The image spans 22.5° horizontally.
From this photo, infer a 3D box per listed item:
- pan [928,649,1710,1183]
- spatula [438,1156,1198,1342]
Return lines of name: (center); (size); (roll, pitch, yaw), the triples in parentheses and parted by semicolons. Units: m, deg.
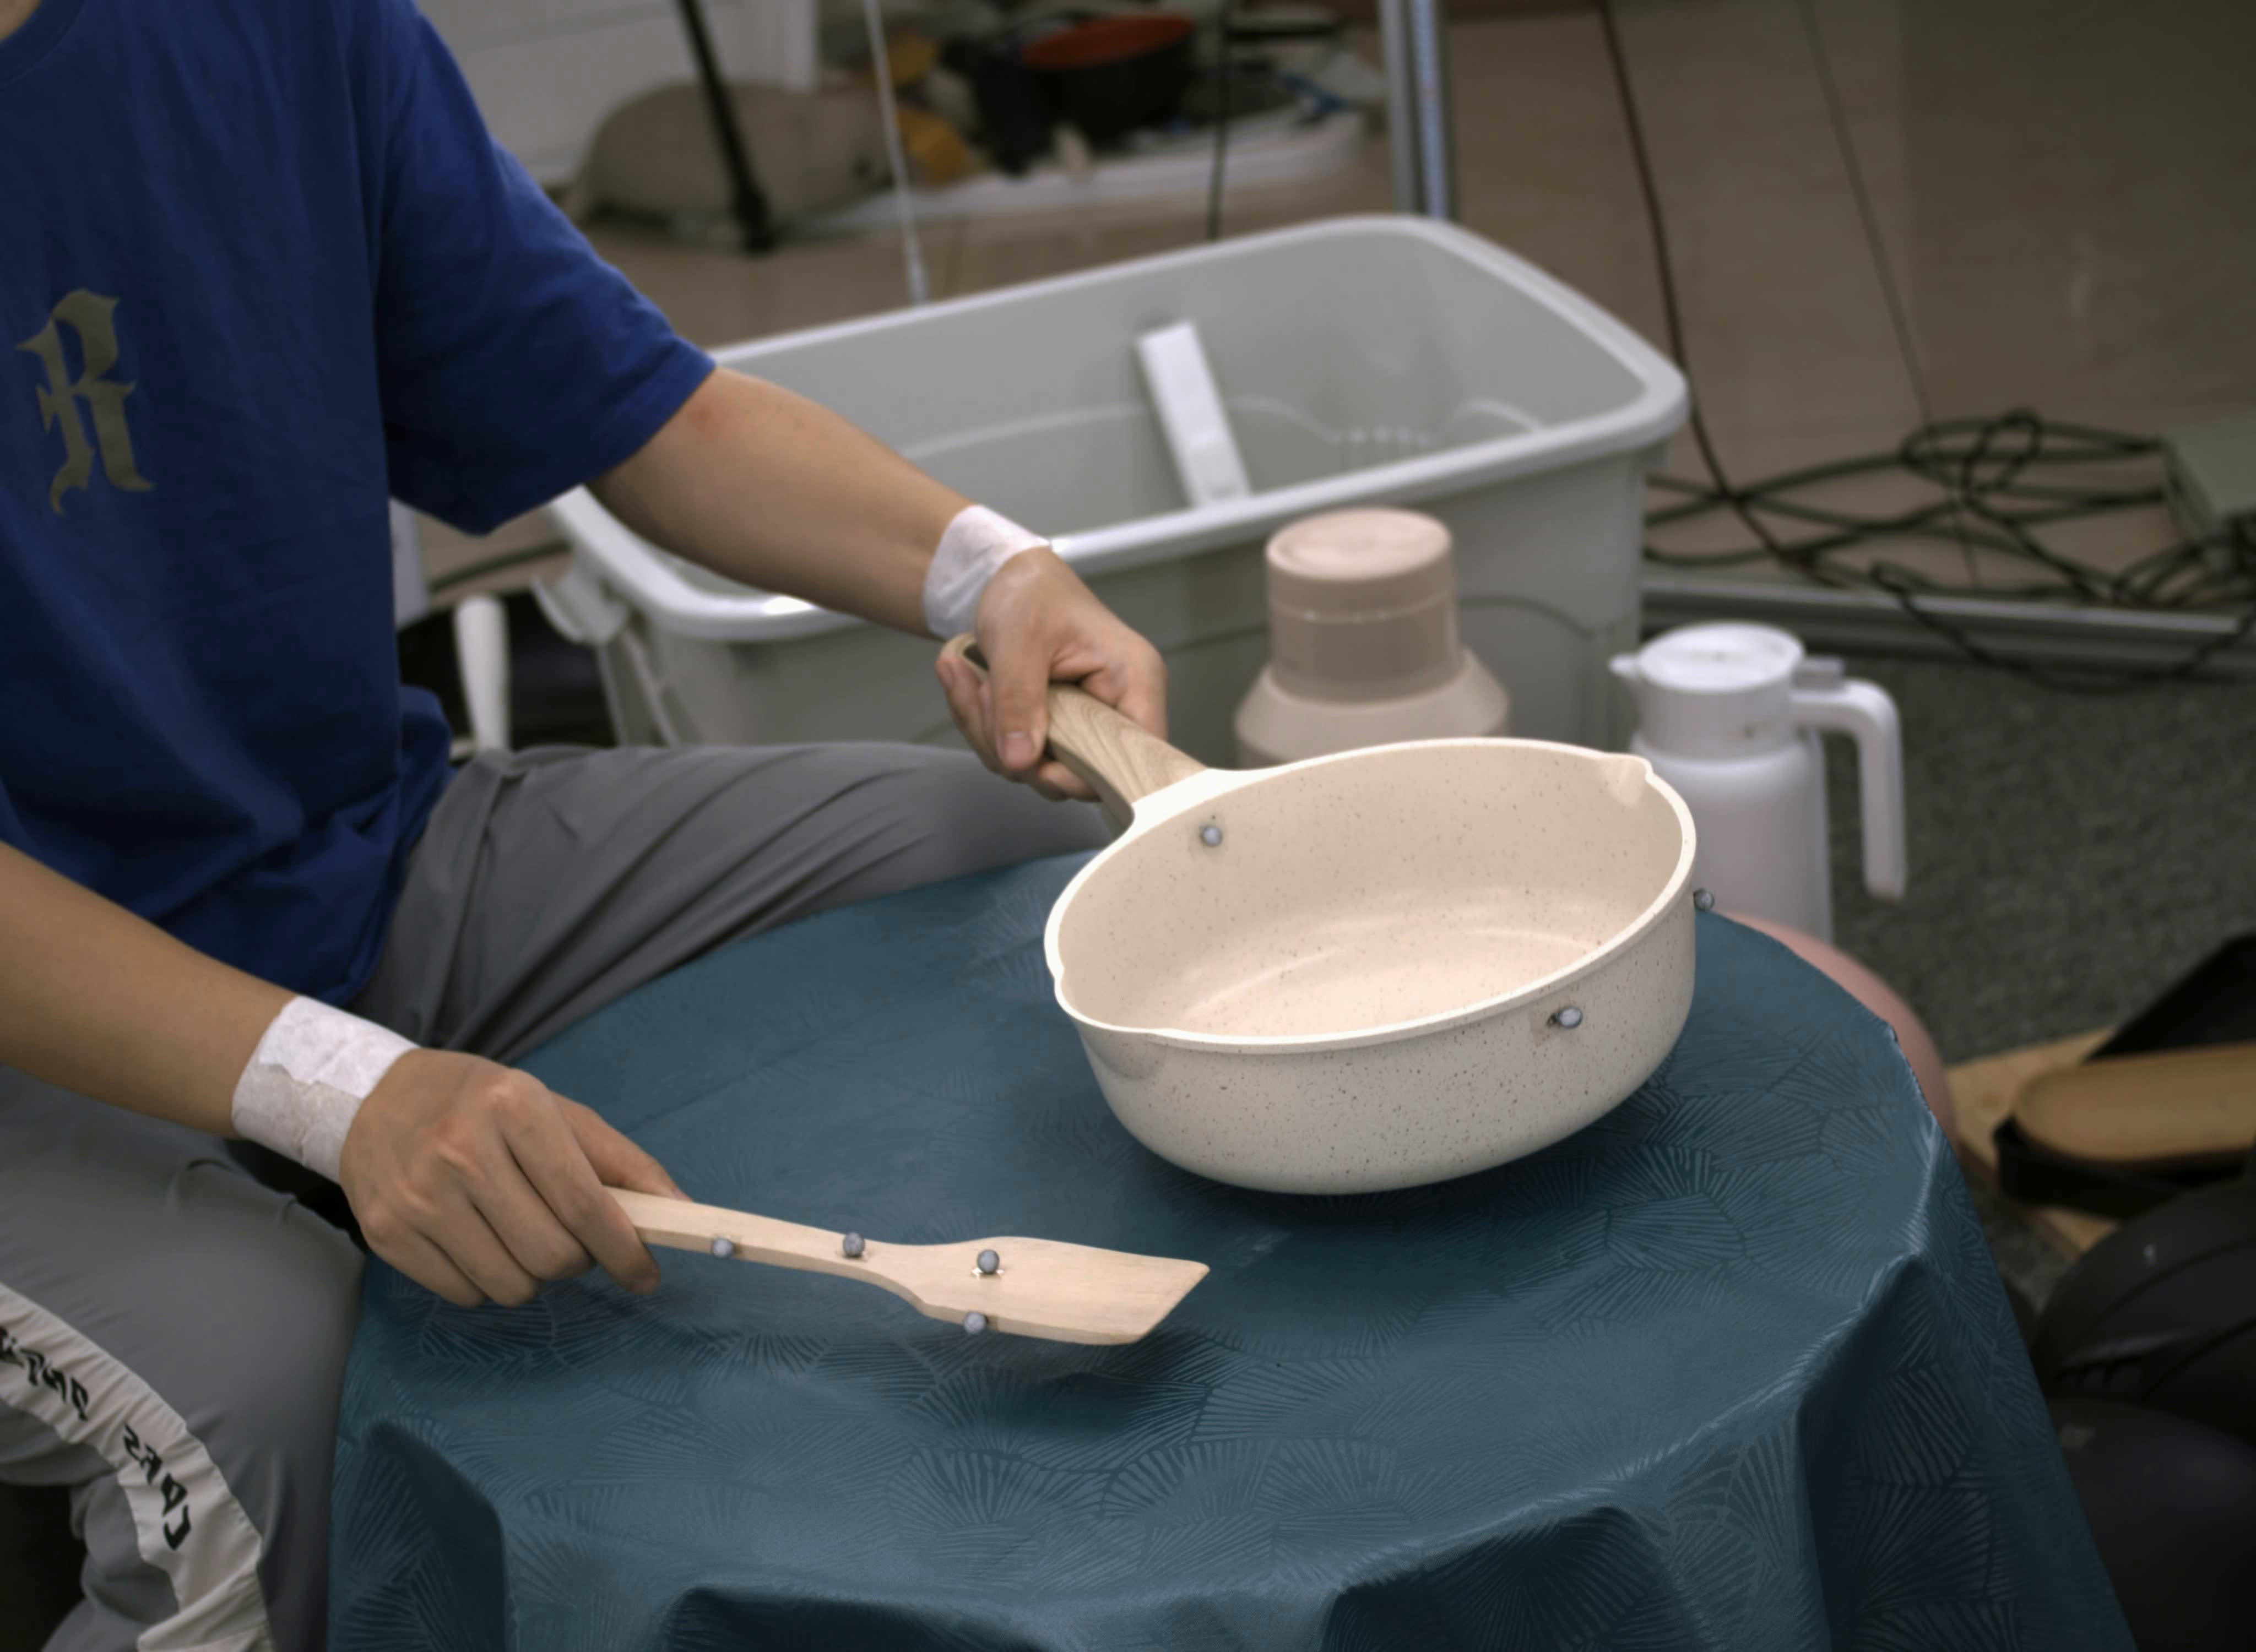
pan: (0.053, 0.023, 2.230); (0.261, 0.103, 0.431); (-27, 28, -24)
spatula: (-0.121, 0.151, 2.064); (0.292, 0.011, 0.071); (9, 22, 21)
